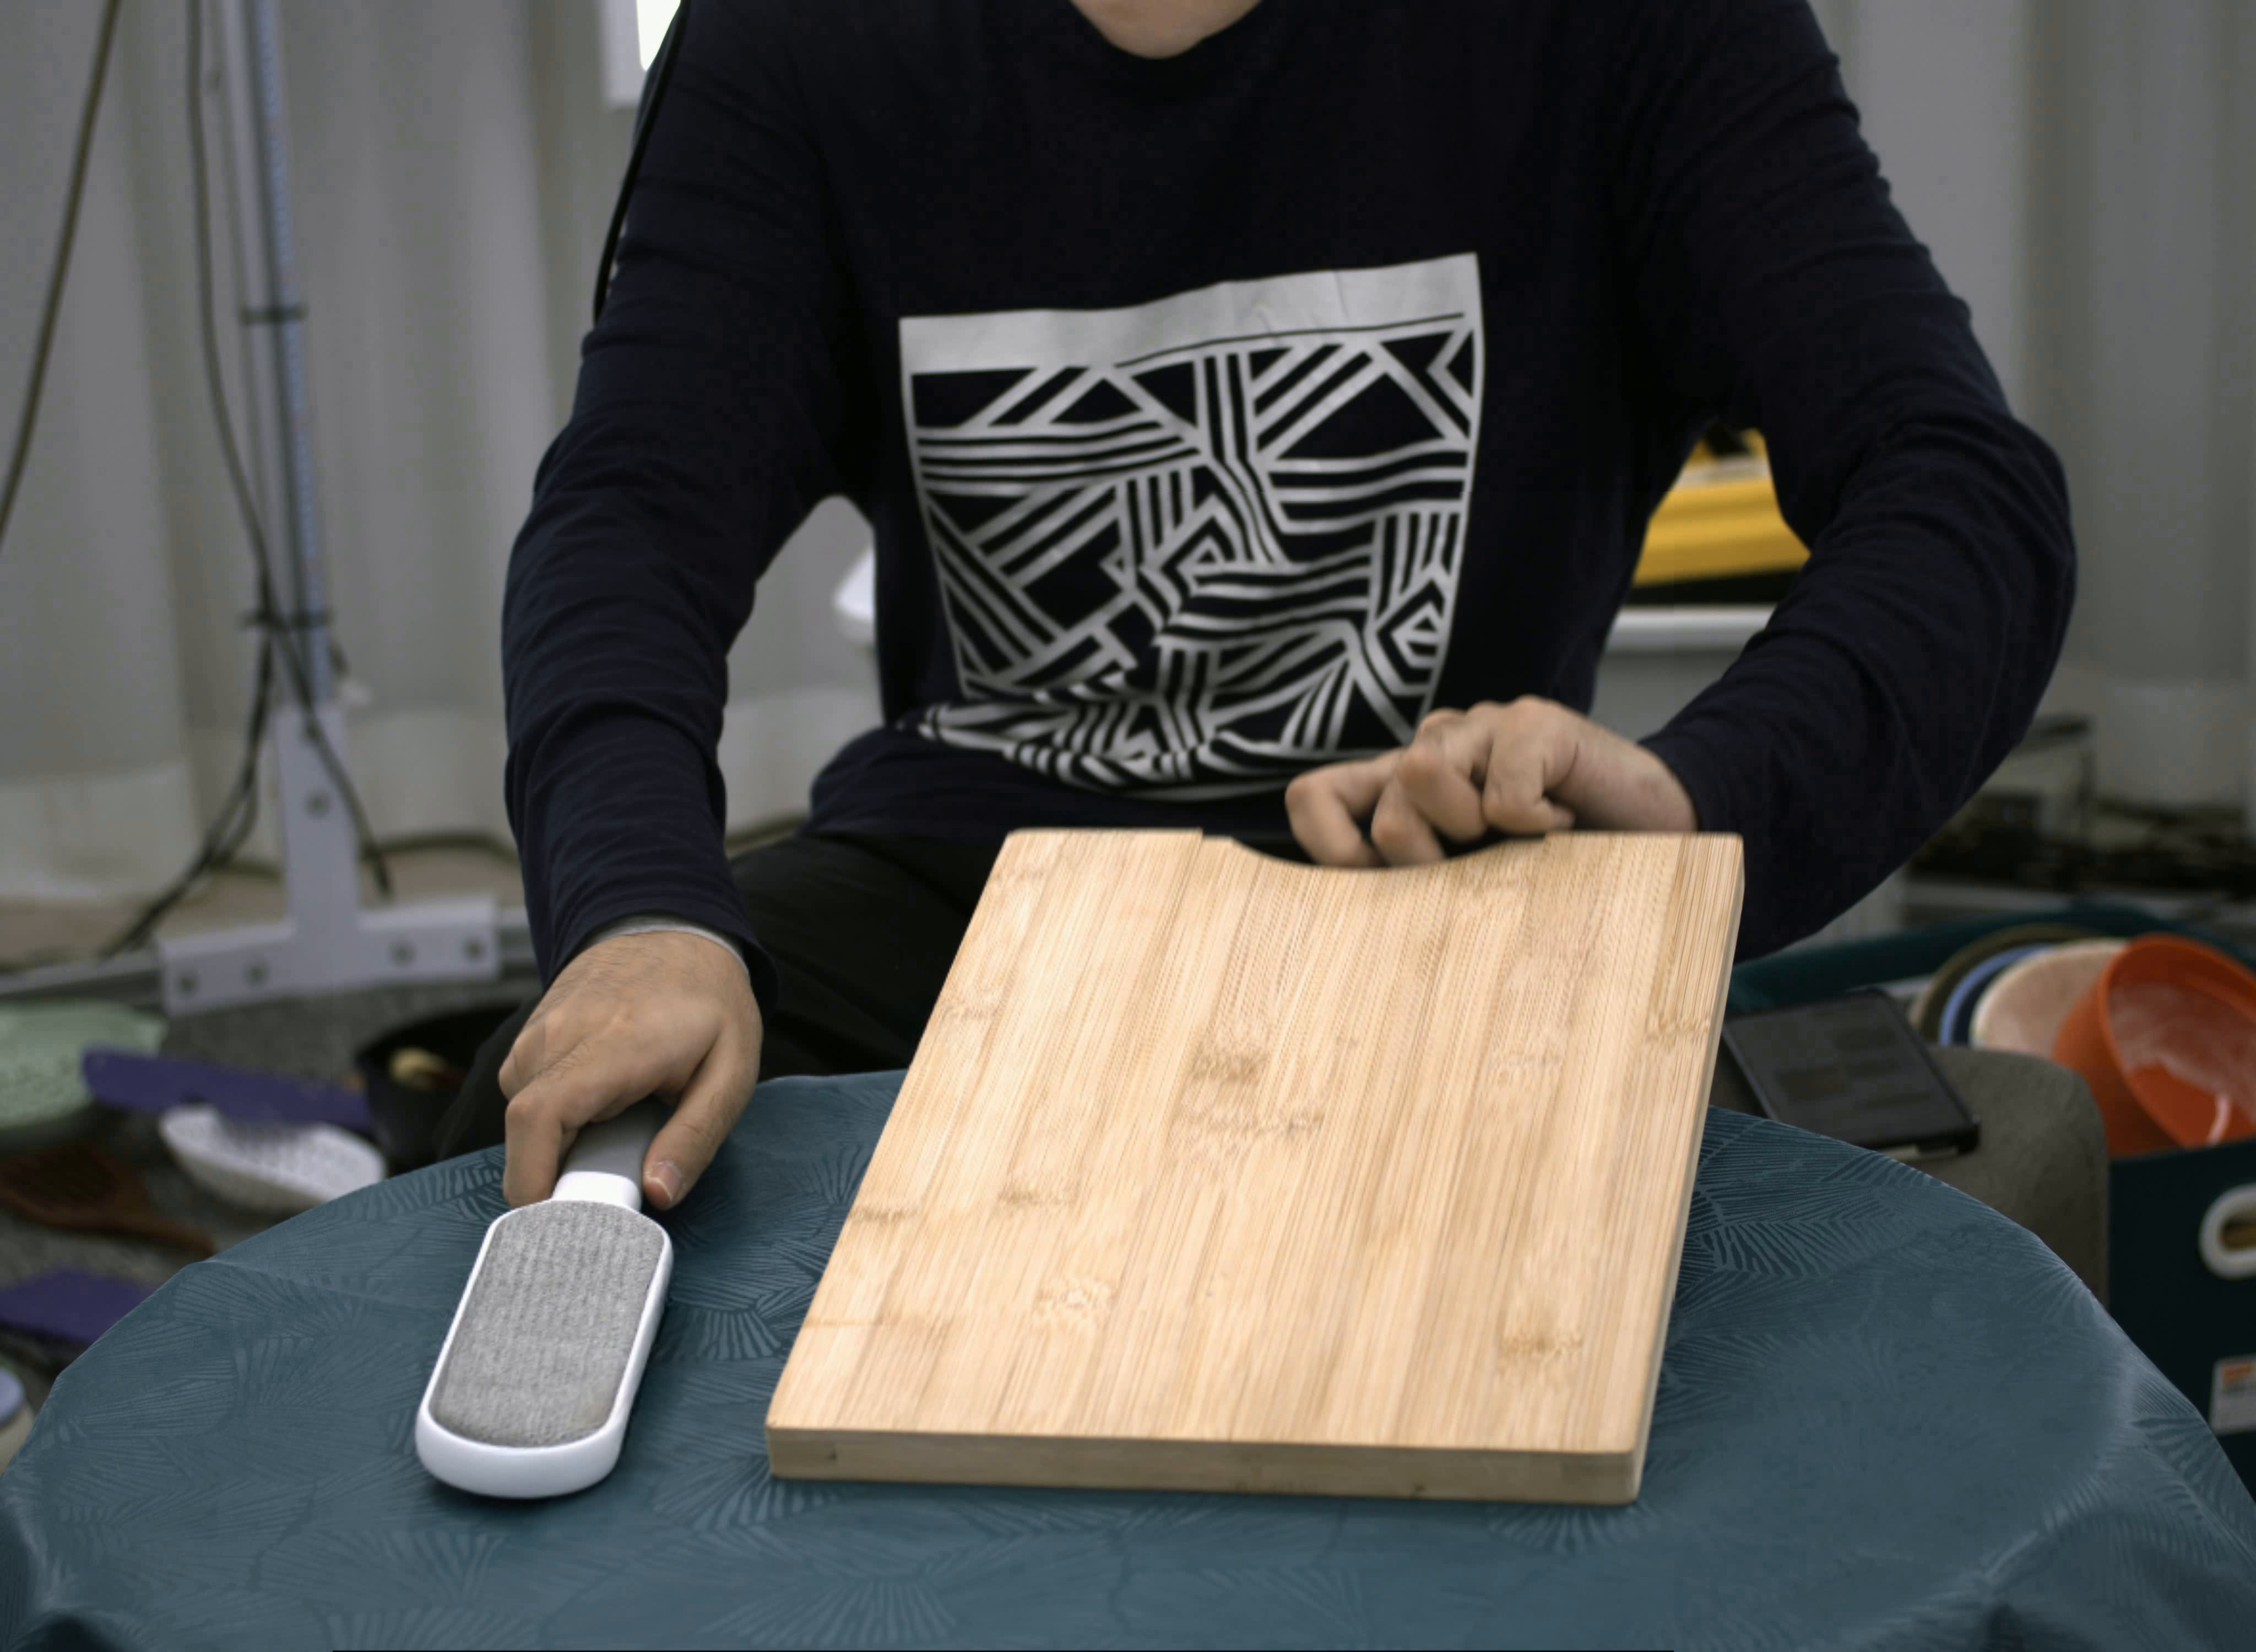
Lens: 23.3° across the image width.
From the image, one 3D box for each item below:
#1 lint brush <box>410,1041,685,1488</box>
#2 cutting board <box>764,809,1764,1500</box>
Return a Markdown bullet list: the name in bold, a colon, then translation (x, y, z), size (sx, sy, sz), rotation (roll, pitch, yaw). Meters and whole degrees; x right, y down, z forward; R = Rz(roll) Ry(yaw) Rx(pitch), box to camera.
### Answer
- **lint brush**: translation (-0.162, 0.125, 1.621), size (0.060, 0.021, 0.311), rotation (0, 18, 3)
- **cutting board**: translation (0.051, 0.088, 1.618), size (0.250, 0.023, 0.352), rotation (0, 29, 11)
